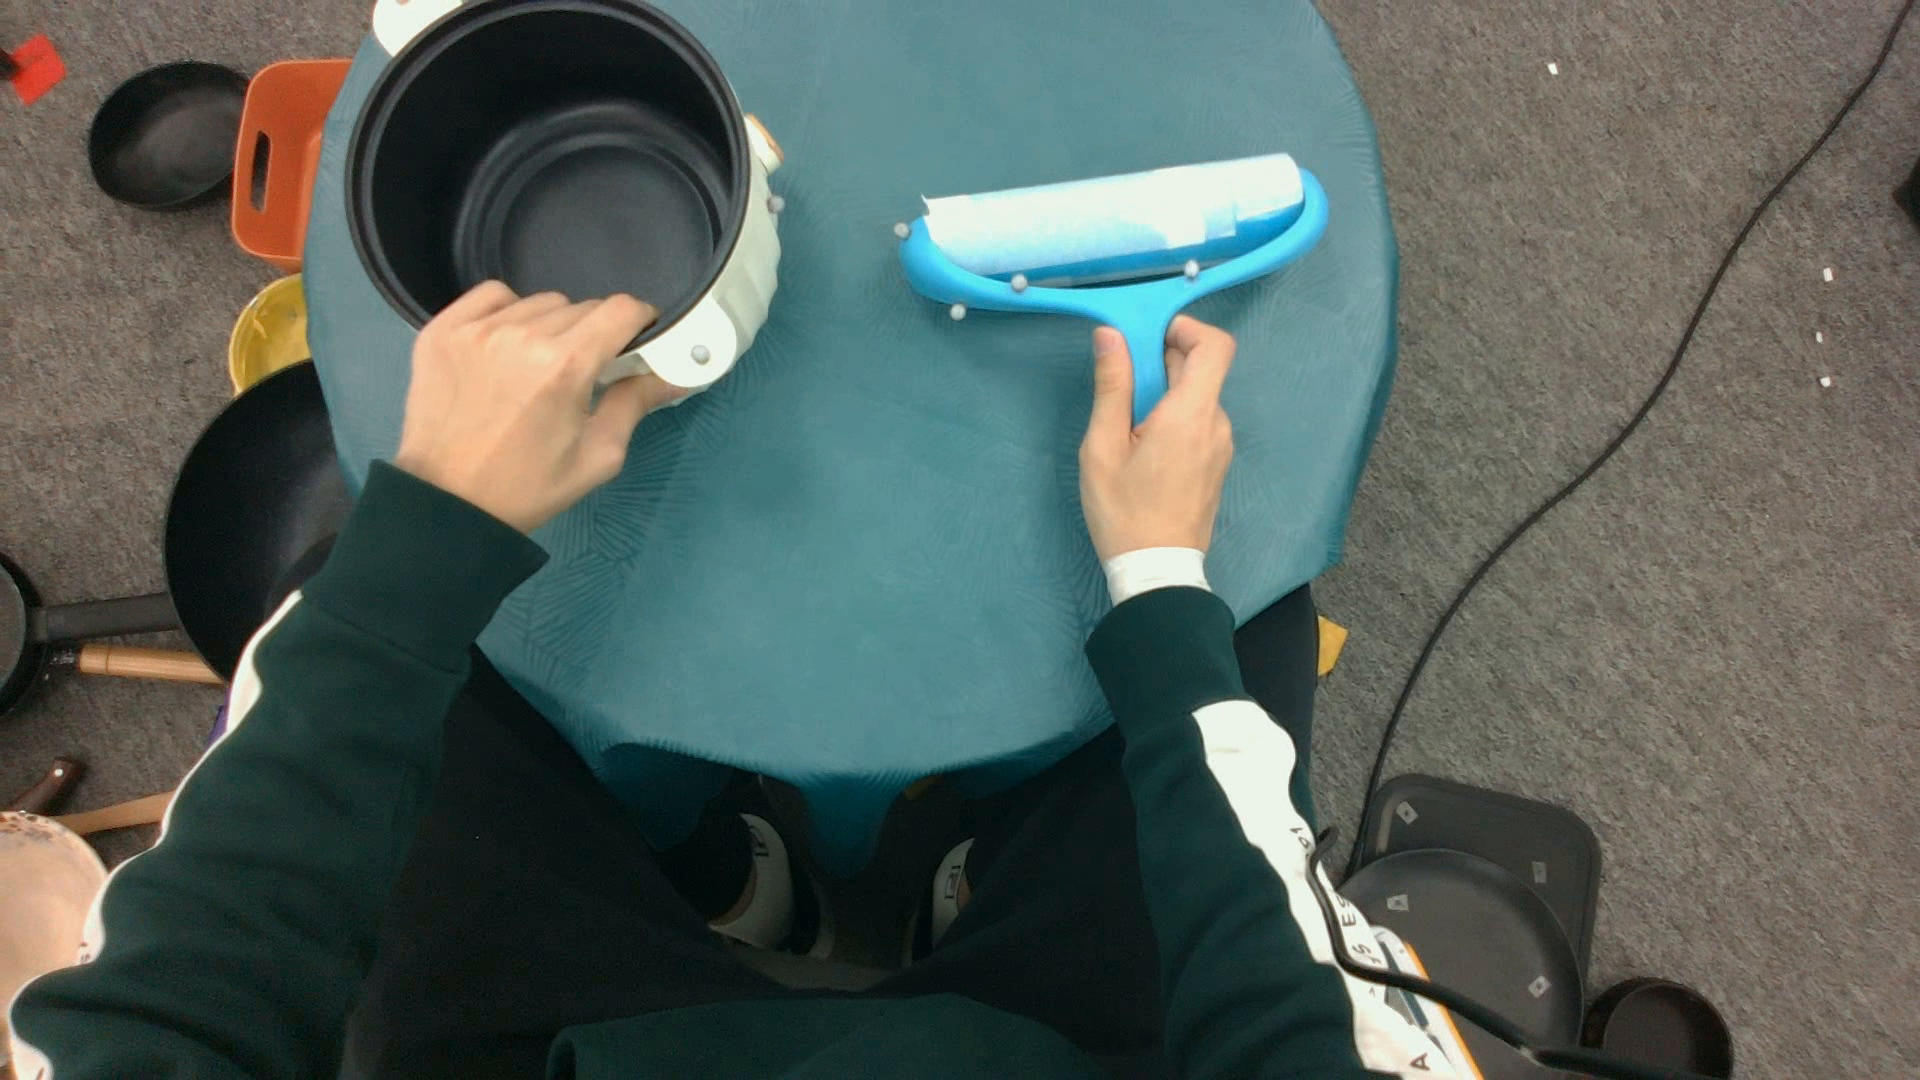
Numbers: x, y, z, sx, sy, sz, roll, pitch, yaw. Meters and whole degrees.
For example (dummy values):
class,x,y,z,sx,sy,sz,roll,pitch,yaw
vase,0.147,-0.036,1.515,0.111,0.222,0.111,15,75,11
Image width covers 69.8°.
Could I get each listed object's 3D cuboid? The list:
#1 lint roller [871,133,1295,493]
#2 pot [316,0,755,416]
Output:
class,x,y,z,sx,sy,sz,roll,pitch,yaw
lint roller,0.080,-0.118,0.723,0.229,0.068,0.180,-13,77,-7
pot,-0.190,-0.158,0.677,0.190,0.142,0.240,-42,84,-2
